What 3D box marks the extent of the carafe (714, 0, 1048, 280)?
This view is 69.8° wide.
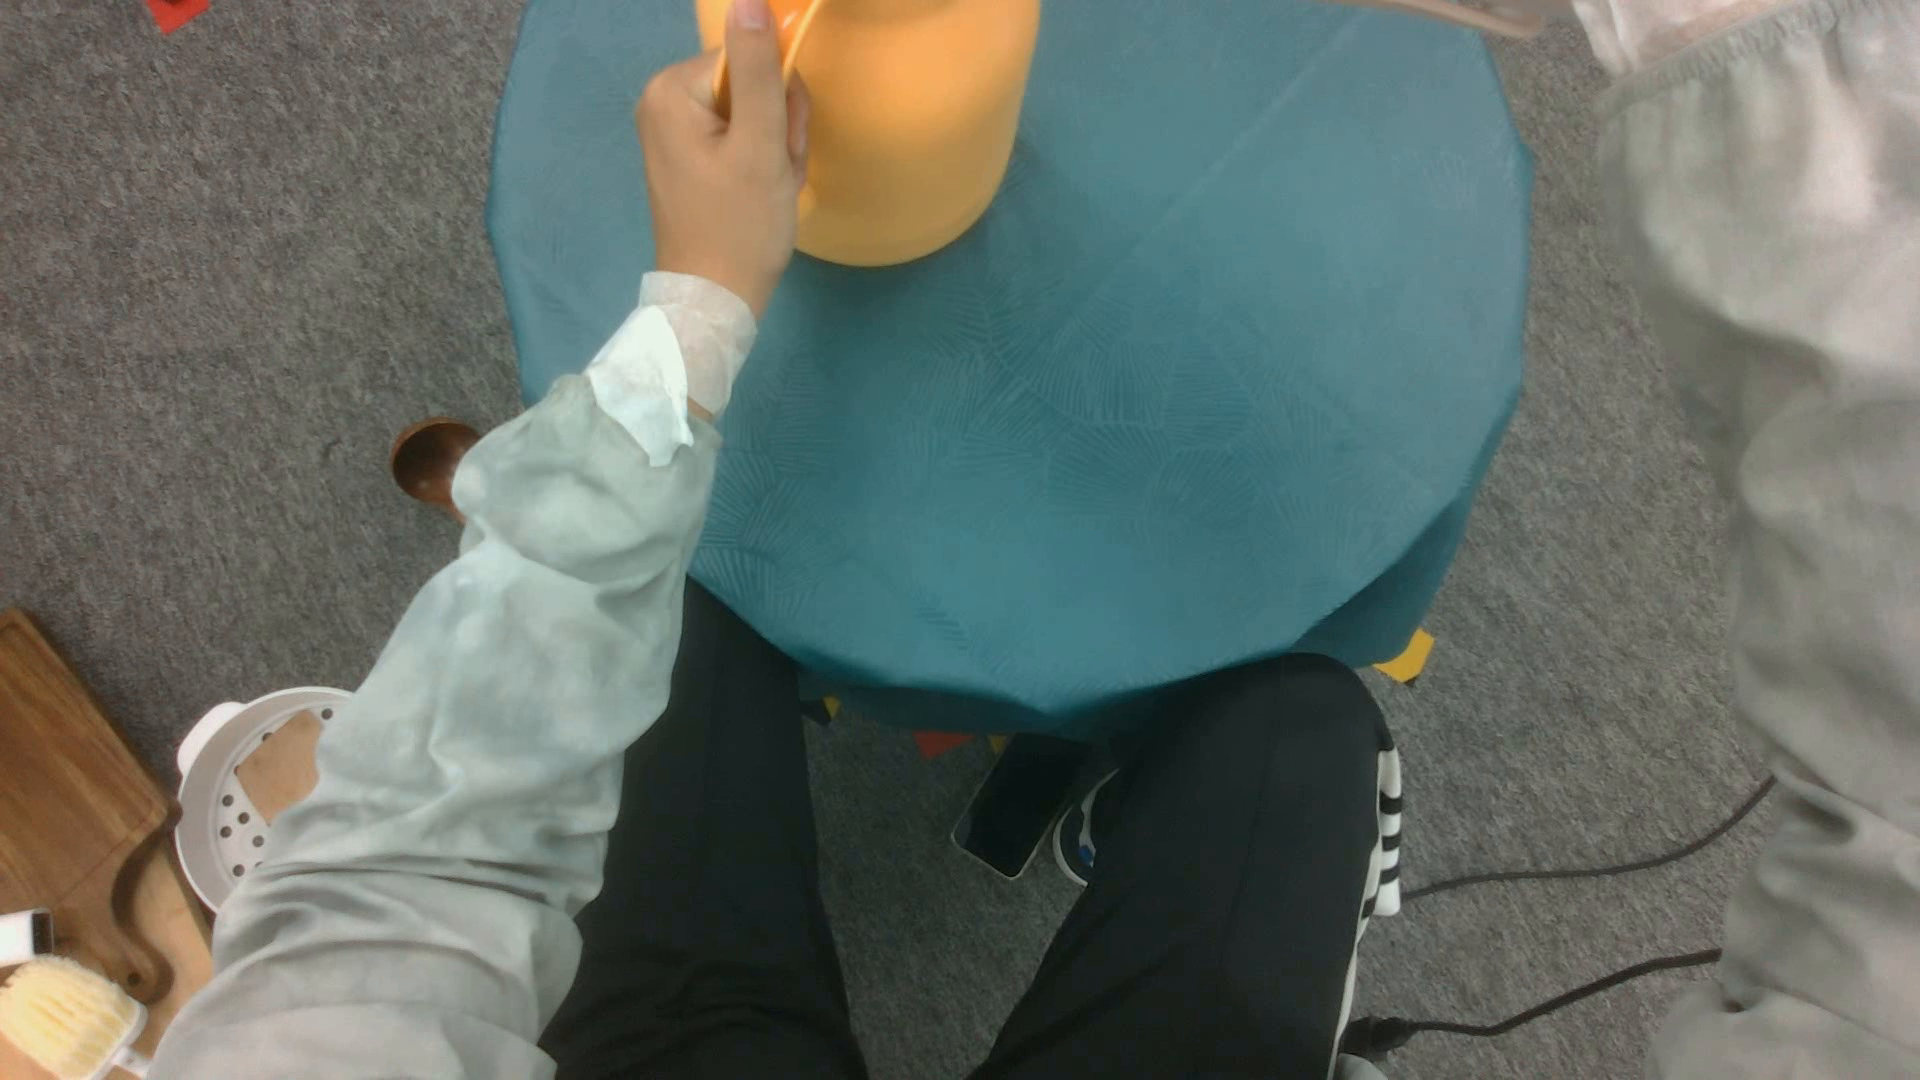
[{"bbox_3d":[-0.049,-0.230,0.670,0.163,0.259,0.203,28,75,4],"label":"carafe"}]

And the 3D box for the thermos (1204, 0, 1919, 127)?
[{"bbox_3d":[0.186,-0.243,0.438,0.406,0.207,0.175,11,103,-2],"label":"thermos"}]
